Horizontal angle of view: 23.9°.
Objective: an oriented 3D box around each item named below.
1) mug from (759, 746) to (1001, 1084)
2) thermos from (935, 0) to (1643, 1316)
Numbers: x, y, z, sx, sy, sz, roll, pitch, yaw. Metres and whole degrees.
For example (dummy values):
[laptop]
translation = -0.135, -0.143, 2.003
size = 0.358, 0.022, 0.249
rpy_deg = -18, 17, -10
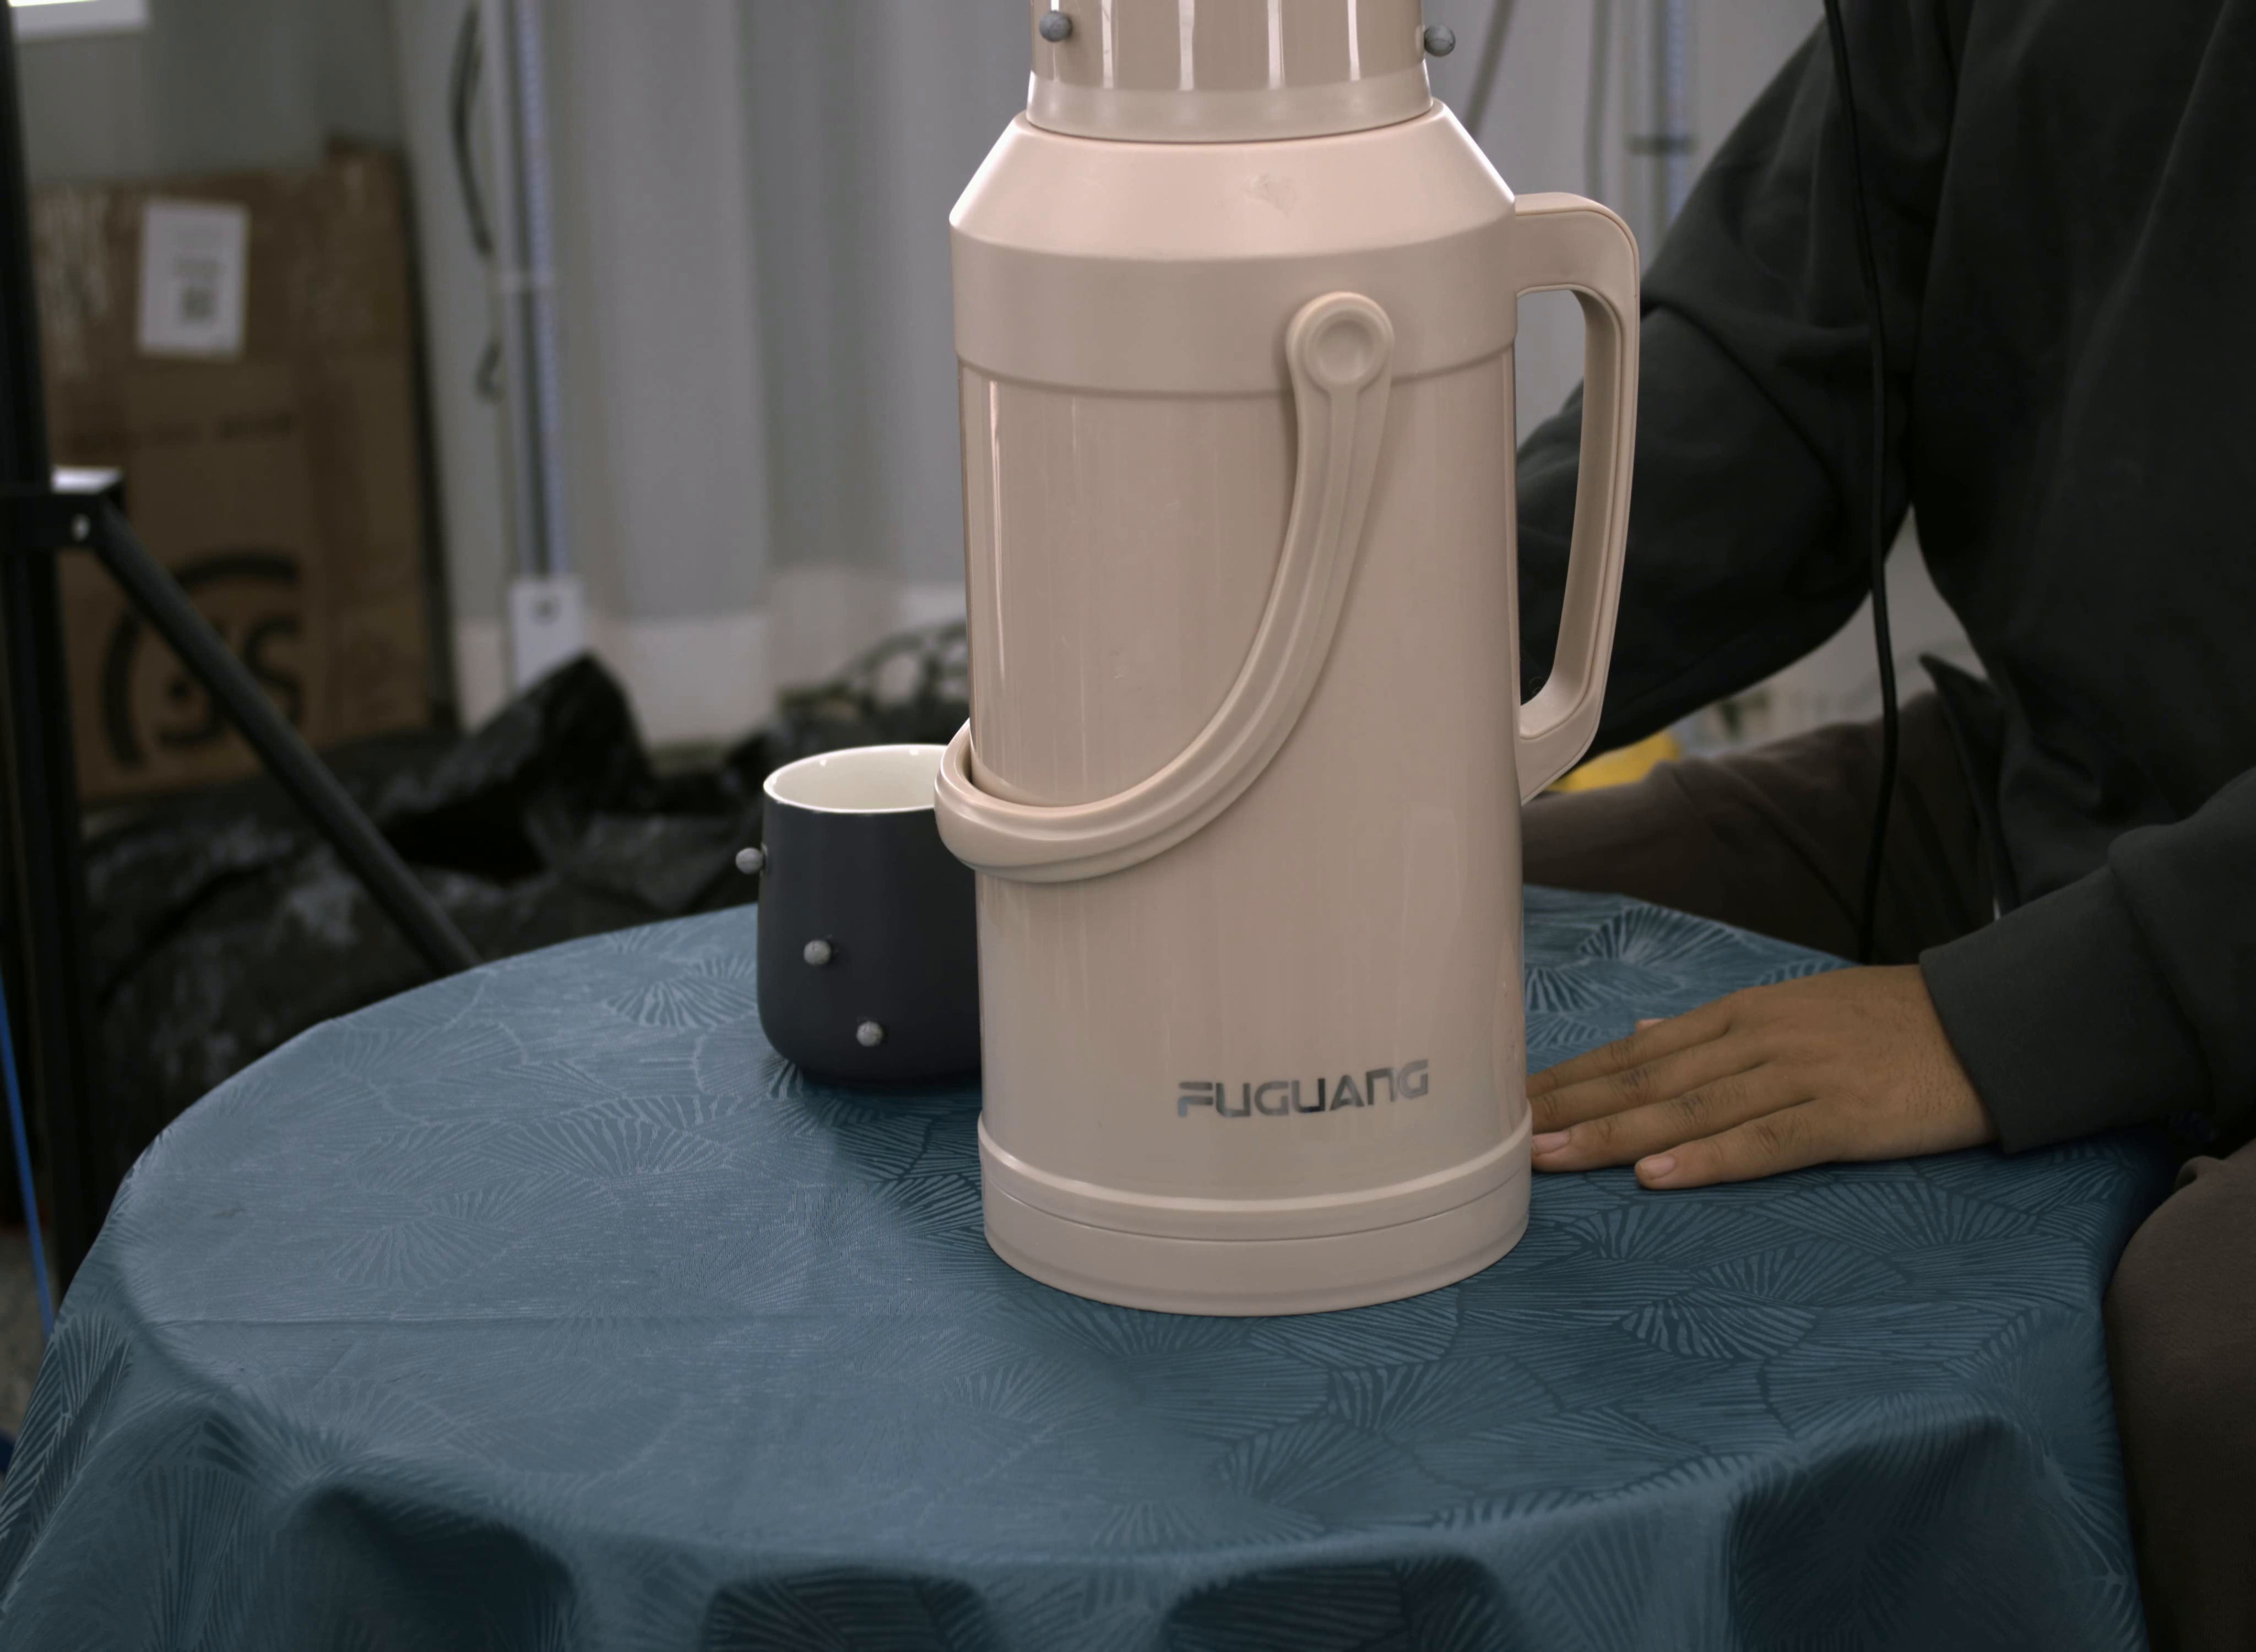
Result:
[mug]
translation = -0.057, 0.026, 1.684
size = 0.121, 0.090, 0.095
rpy_deg = -6, 16, -11
[thermos]
translation = 0.046, -0.079, 1.484
size = 0.203, 0.406, 0.178
rpy_deg = -7, 15, -16
